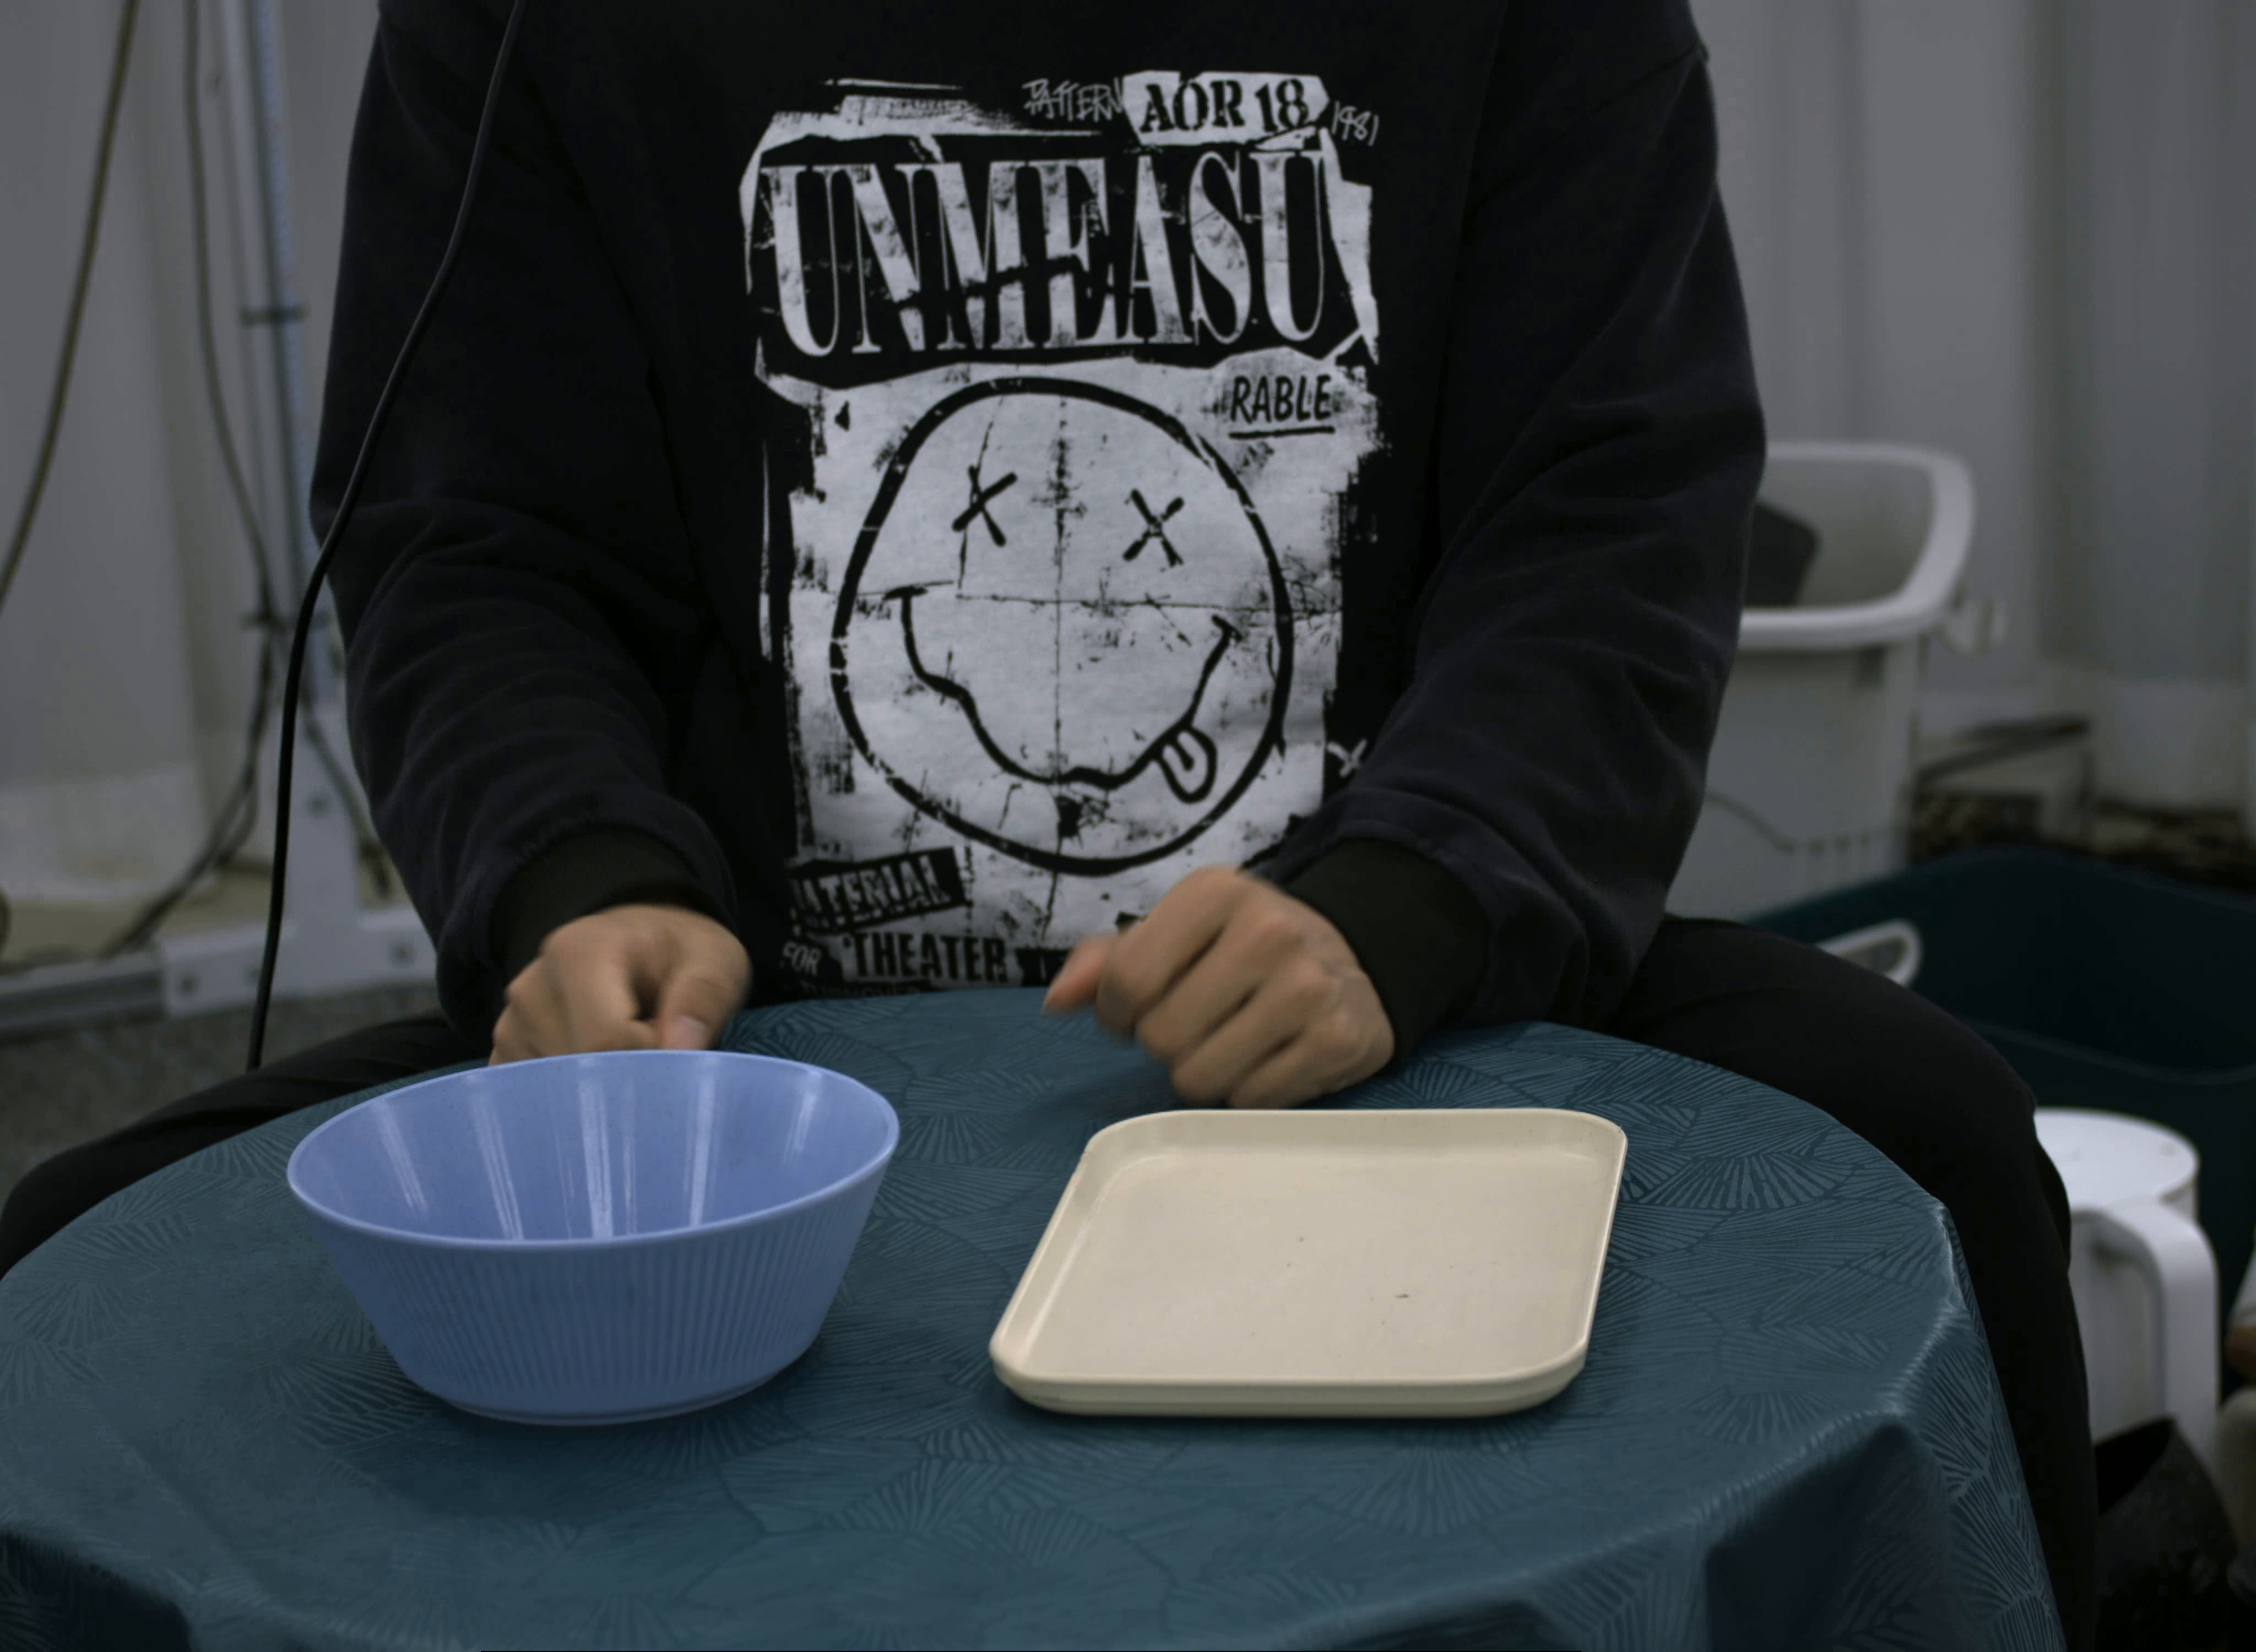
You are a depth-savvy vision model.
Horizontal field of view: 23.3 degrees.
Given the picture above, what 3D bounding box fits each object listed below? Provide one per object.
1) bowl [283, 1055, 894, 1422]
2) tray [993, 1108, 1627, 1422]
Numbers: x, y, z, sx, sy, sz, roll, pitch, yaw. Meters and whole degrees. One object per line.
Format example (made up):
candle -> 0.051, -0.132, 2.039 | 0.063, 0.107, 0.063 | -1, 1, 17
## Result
bowl -> -0.154, 0.122, 1.581 | 0.175, 0.070, 0.177 | -2, 14, 0
tray -> 0.058, 0.129, 1.617 | 0.171, 0.017, 0.241 | 0, 15, 9
